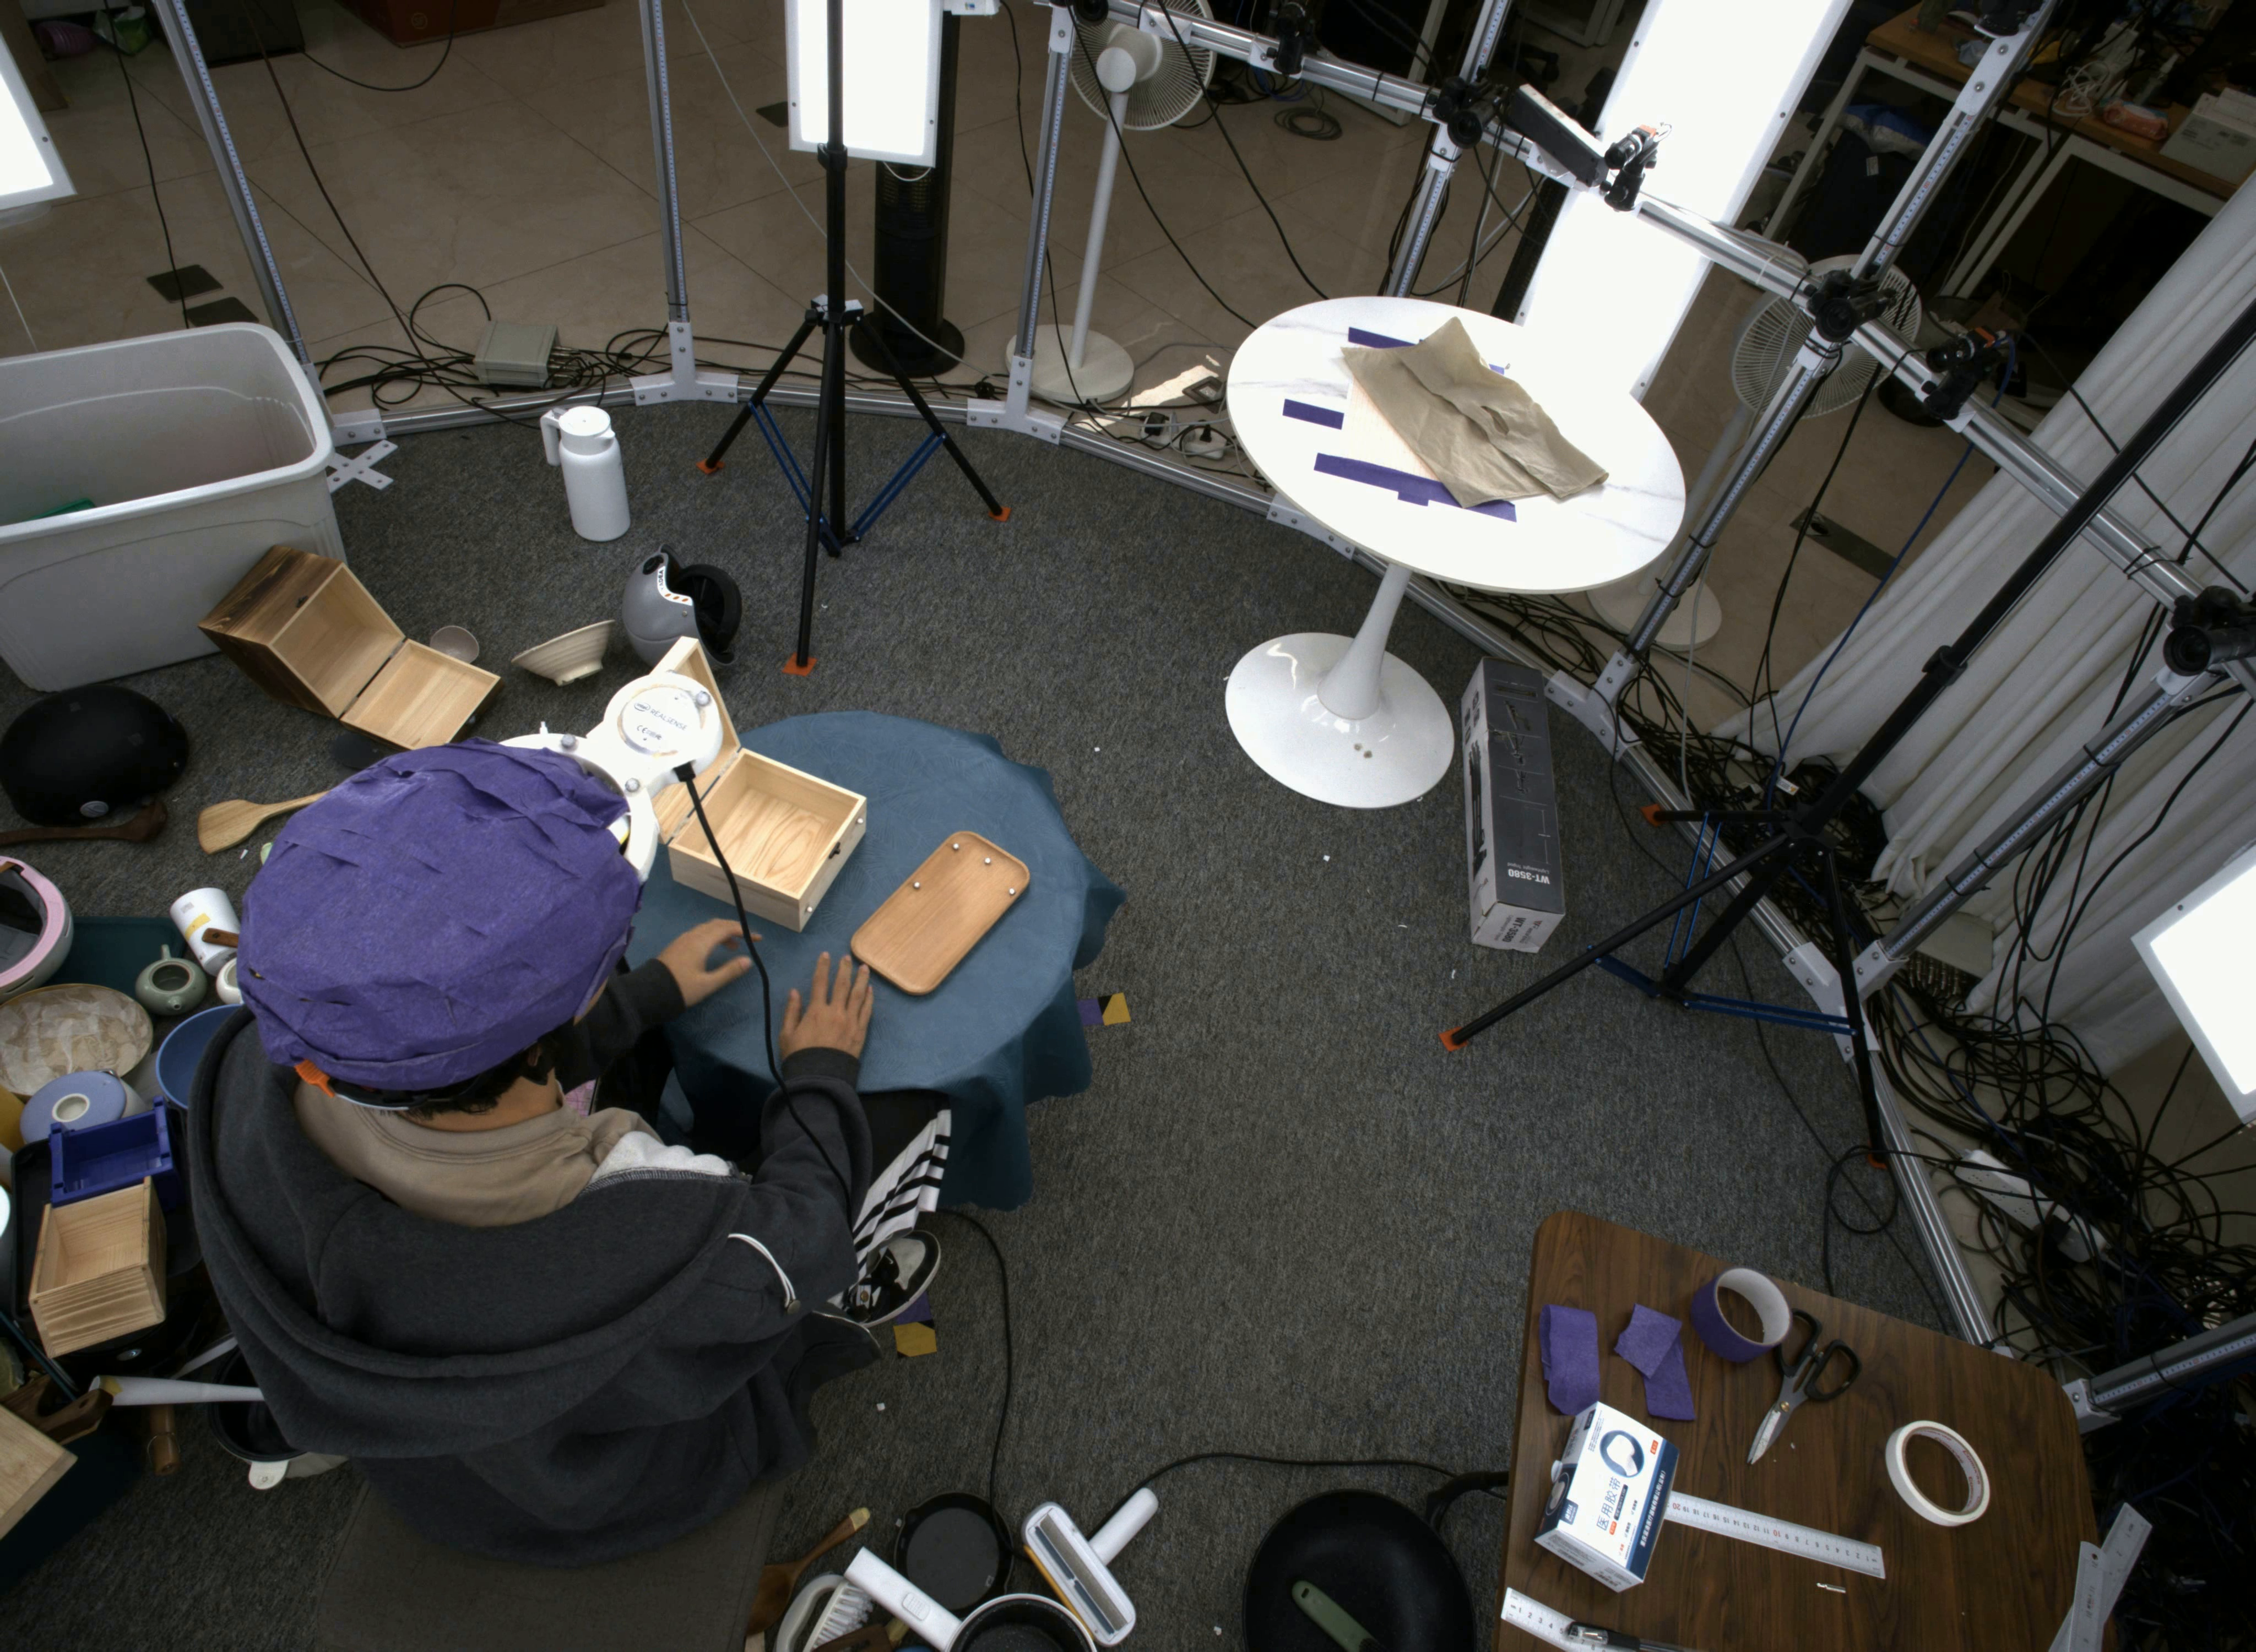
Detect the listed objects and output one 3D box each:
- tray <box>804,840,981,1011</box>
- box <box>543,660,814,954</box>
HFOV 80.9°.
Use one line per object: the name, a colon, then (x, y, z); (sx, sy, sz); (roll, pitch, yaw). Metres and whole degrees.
tray: (-0.296, 0.122, 1.659); (0.128, 0.023, 0.250); (28, 53, 11)
box: (-0.540, -0.023, 1.558); (0.262, 0.259, 0.180); (17, 54, 2)
